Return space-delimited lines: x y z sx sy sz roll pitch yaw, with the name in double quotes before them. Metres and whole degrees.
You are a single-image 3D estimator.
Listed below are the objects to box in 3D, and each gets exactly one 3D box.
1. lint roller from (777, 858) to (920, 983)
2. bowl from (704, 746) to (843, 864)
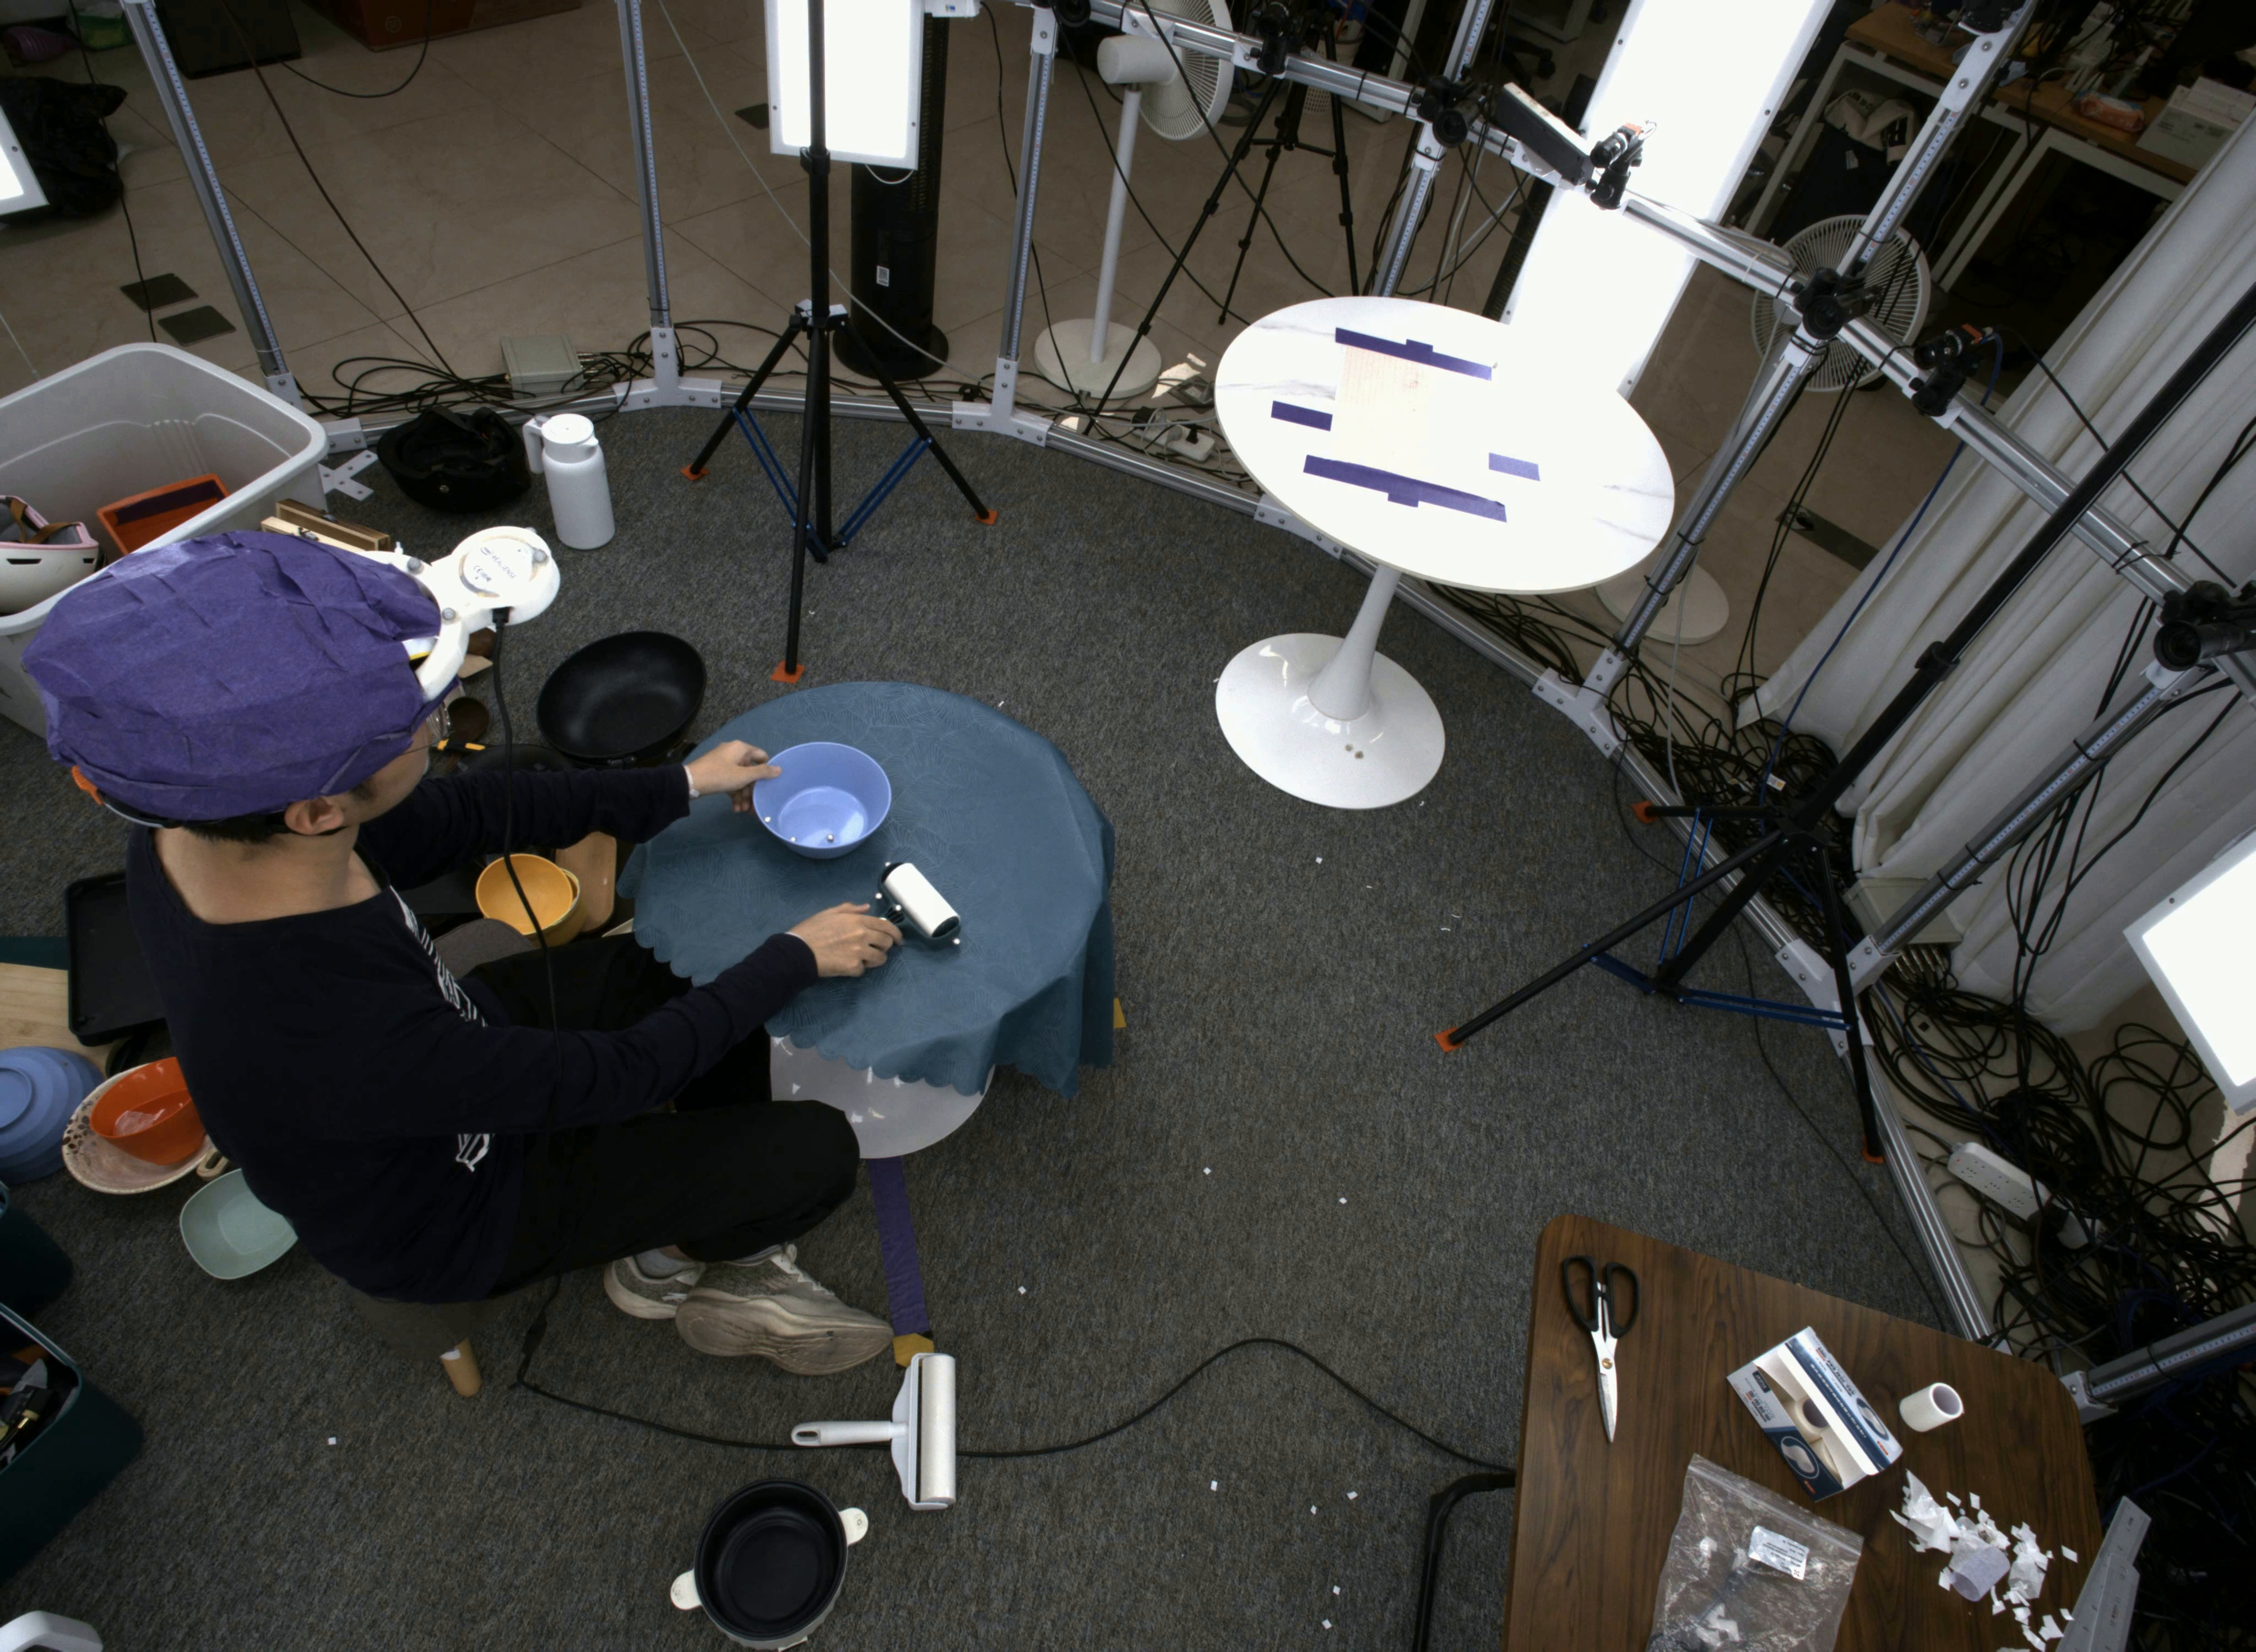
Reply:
"lint roller" -0.363 0.130 1.619 0.131 0.049 0.180 43 53 17
"bowl" -0.461 -0.018 1.692 0.175 0.072 0.173 8 53 -8
